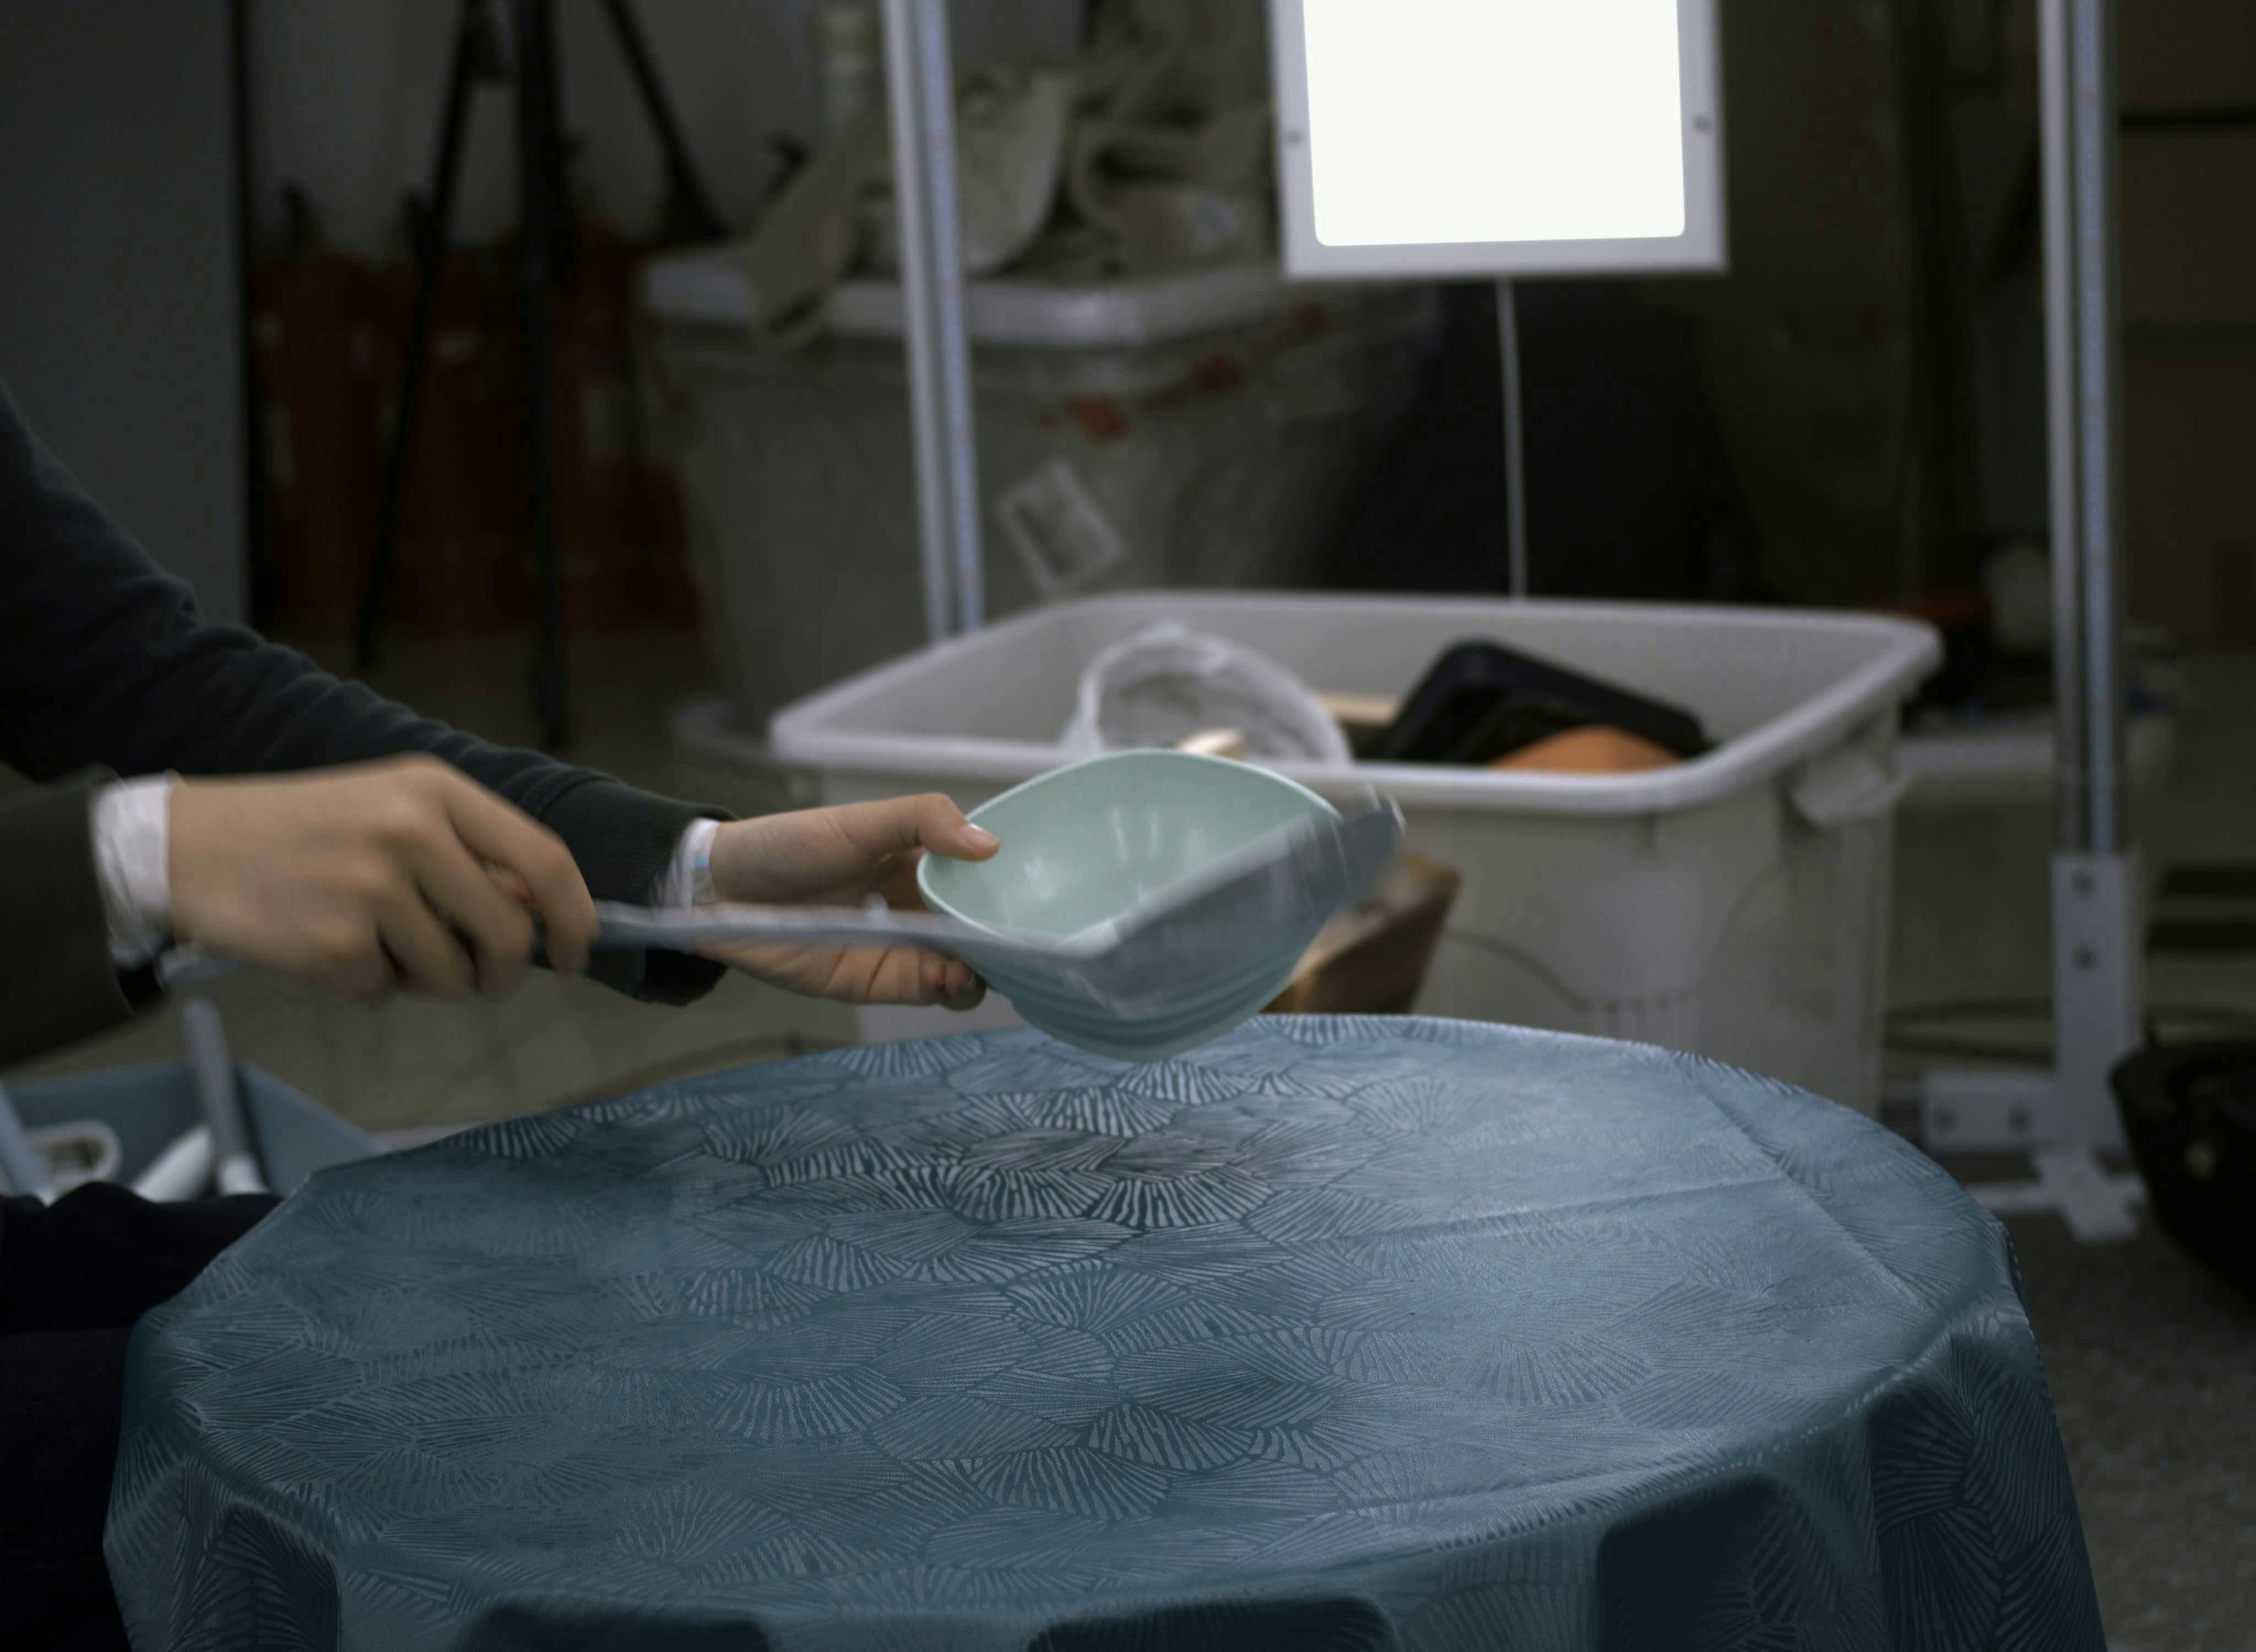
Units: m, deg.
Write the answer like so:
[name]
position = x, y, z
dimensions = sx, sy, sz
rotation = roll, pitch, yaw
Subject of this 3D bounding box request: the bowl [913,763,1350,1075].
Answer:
[bowl]
position = 0.003, 0.037, 1.909
dimensions = 0.151, 0.059, 0.151
rotation = -5, 27, 1

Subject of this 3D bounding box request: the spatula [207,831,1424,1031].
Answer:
[spatula]
position = -0.091, 0.036, 1.640
dimensions = 0.362, 0.045, 0.099
rotation = 0, -21, -6
